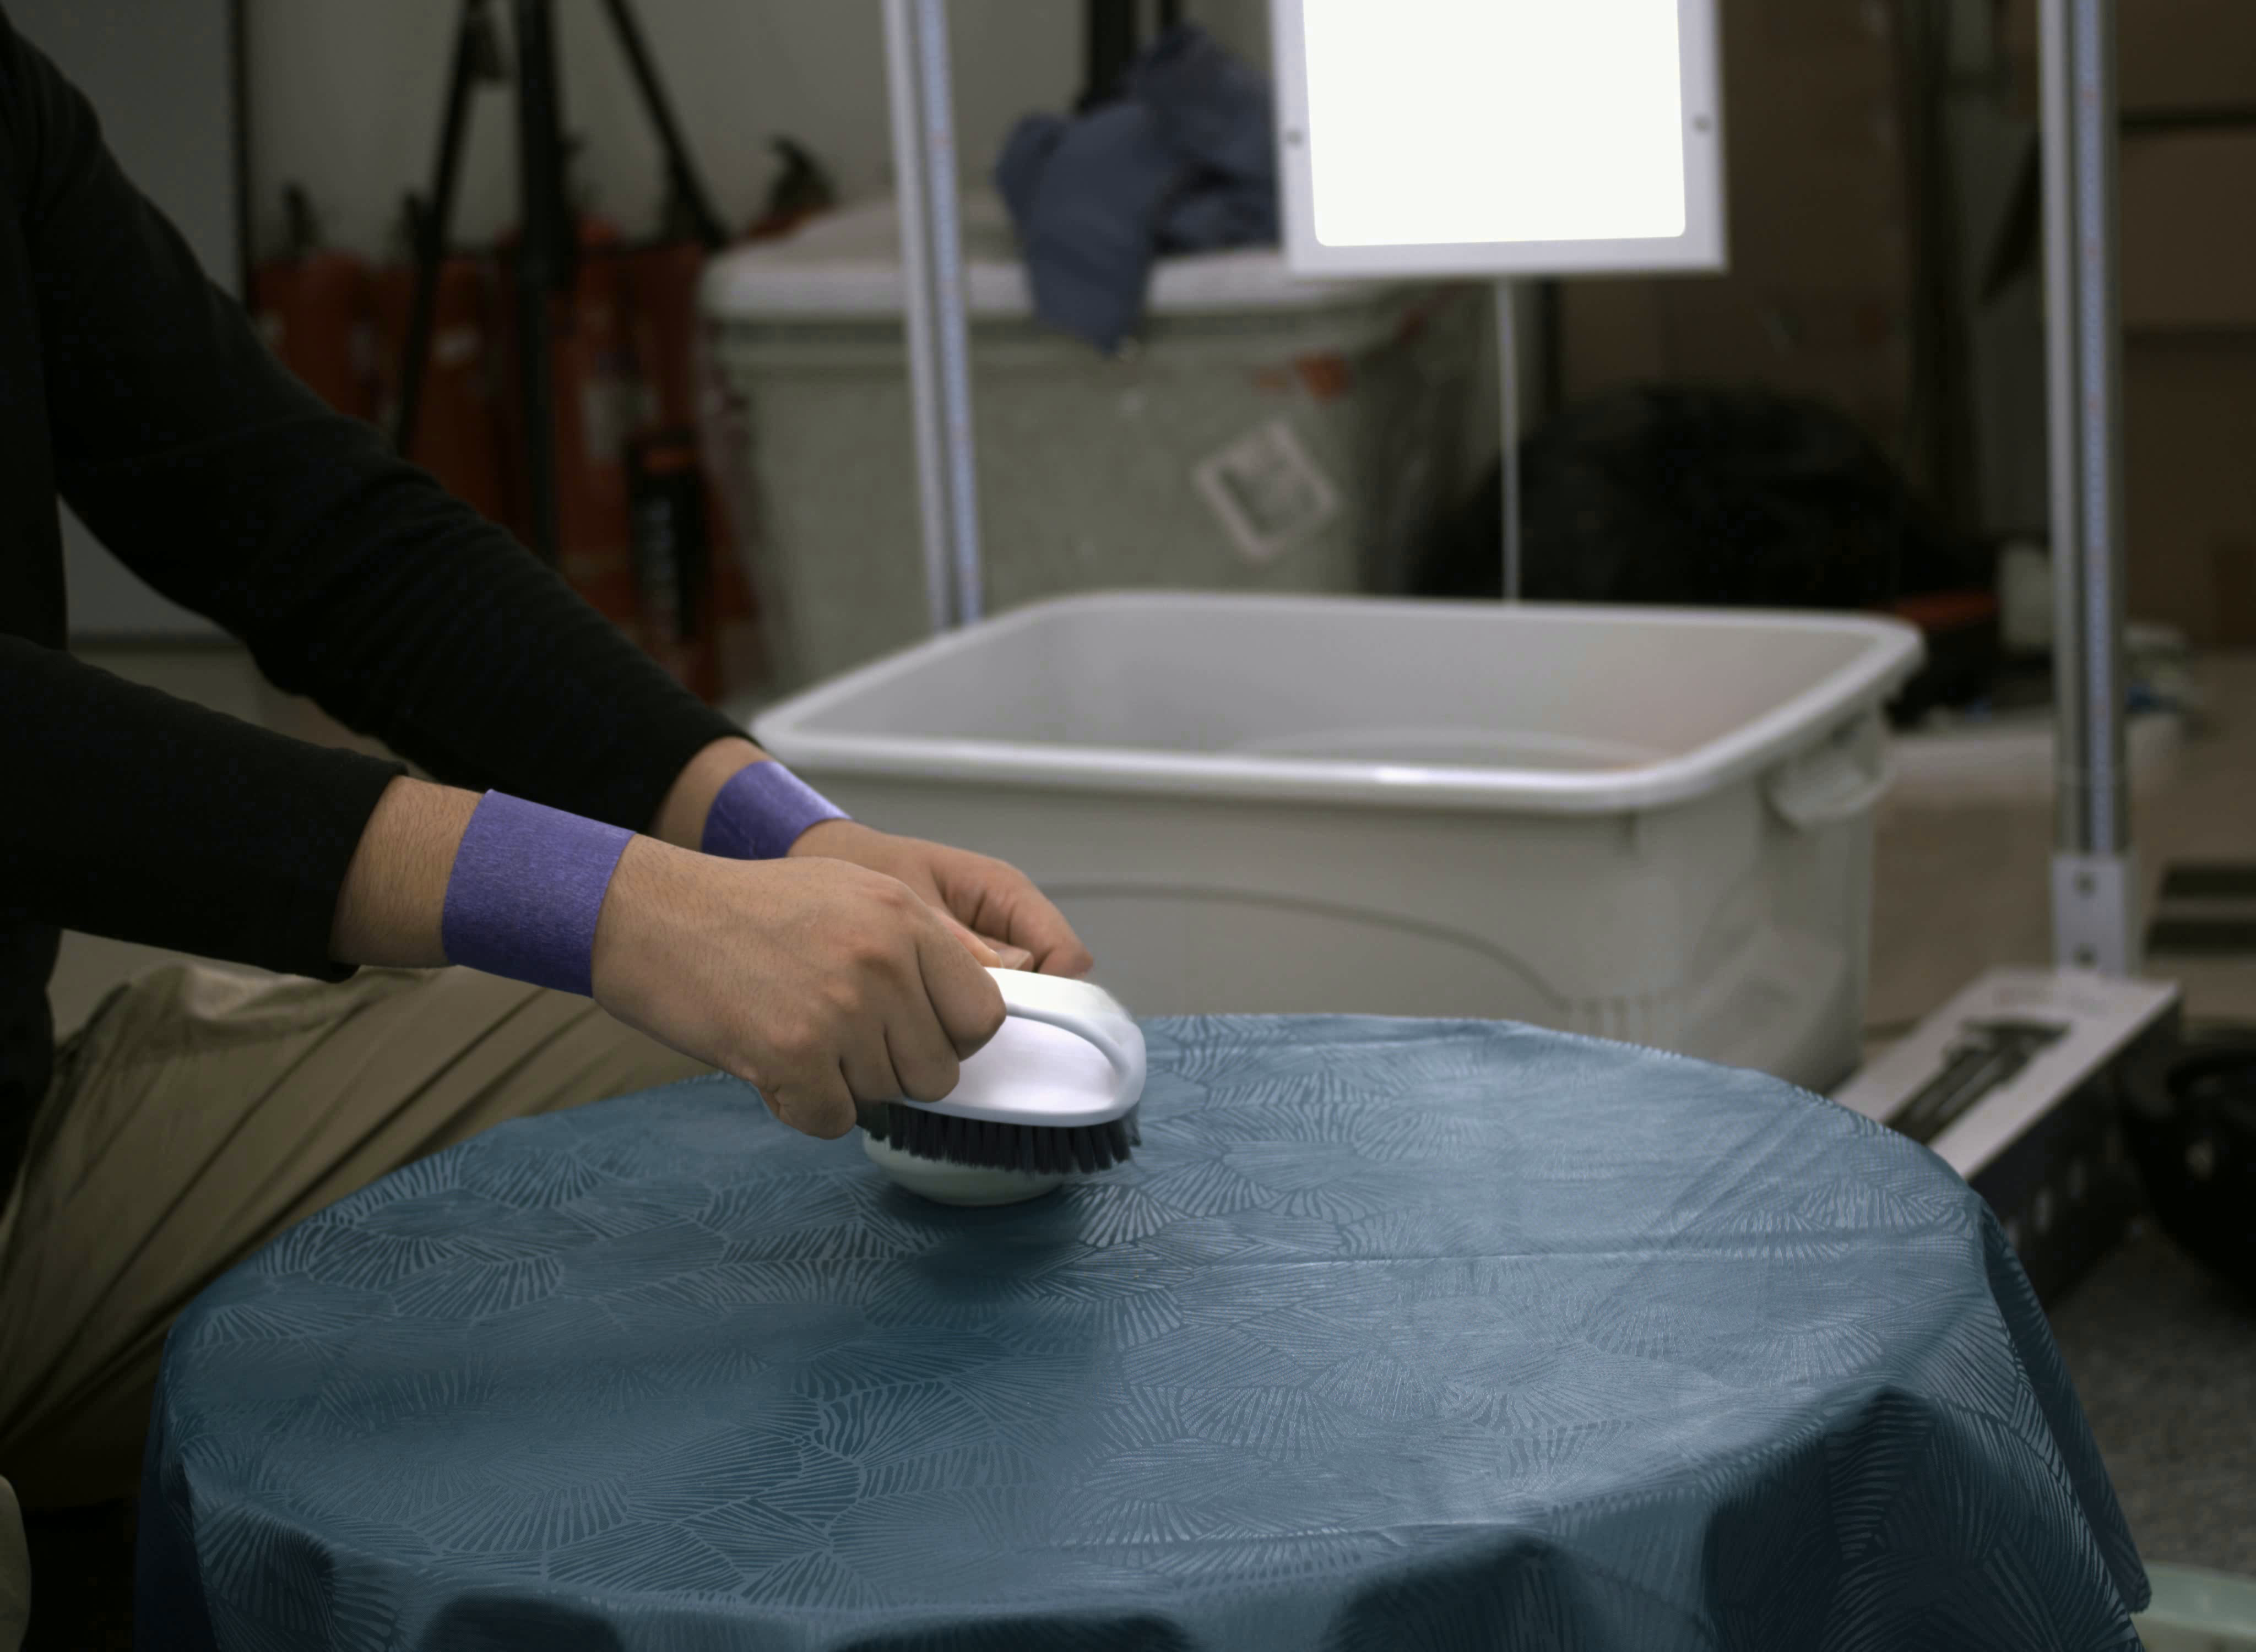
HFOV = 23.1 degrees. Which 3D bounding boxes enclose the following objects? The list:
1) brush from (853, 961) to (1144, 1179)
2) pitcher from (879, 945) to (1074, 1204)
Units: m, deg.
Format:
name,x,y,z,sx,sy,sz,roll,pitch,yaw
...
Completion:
name,x,y,z,sx,sy,sz,roll,pitch,yaw
brush,-0.043,0.073,1.826,0.099,0.073,0.050,10,53,9
pitcher,-0.044,0.089,1.932,0.088,0.060,0.106,-9,26,32
